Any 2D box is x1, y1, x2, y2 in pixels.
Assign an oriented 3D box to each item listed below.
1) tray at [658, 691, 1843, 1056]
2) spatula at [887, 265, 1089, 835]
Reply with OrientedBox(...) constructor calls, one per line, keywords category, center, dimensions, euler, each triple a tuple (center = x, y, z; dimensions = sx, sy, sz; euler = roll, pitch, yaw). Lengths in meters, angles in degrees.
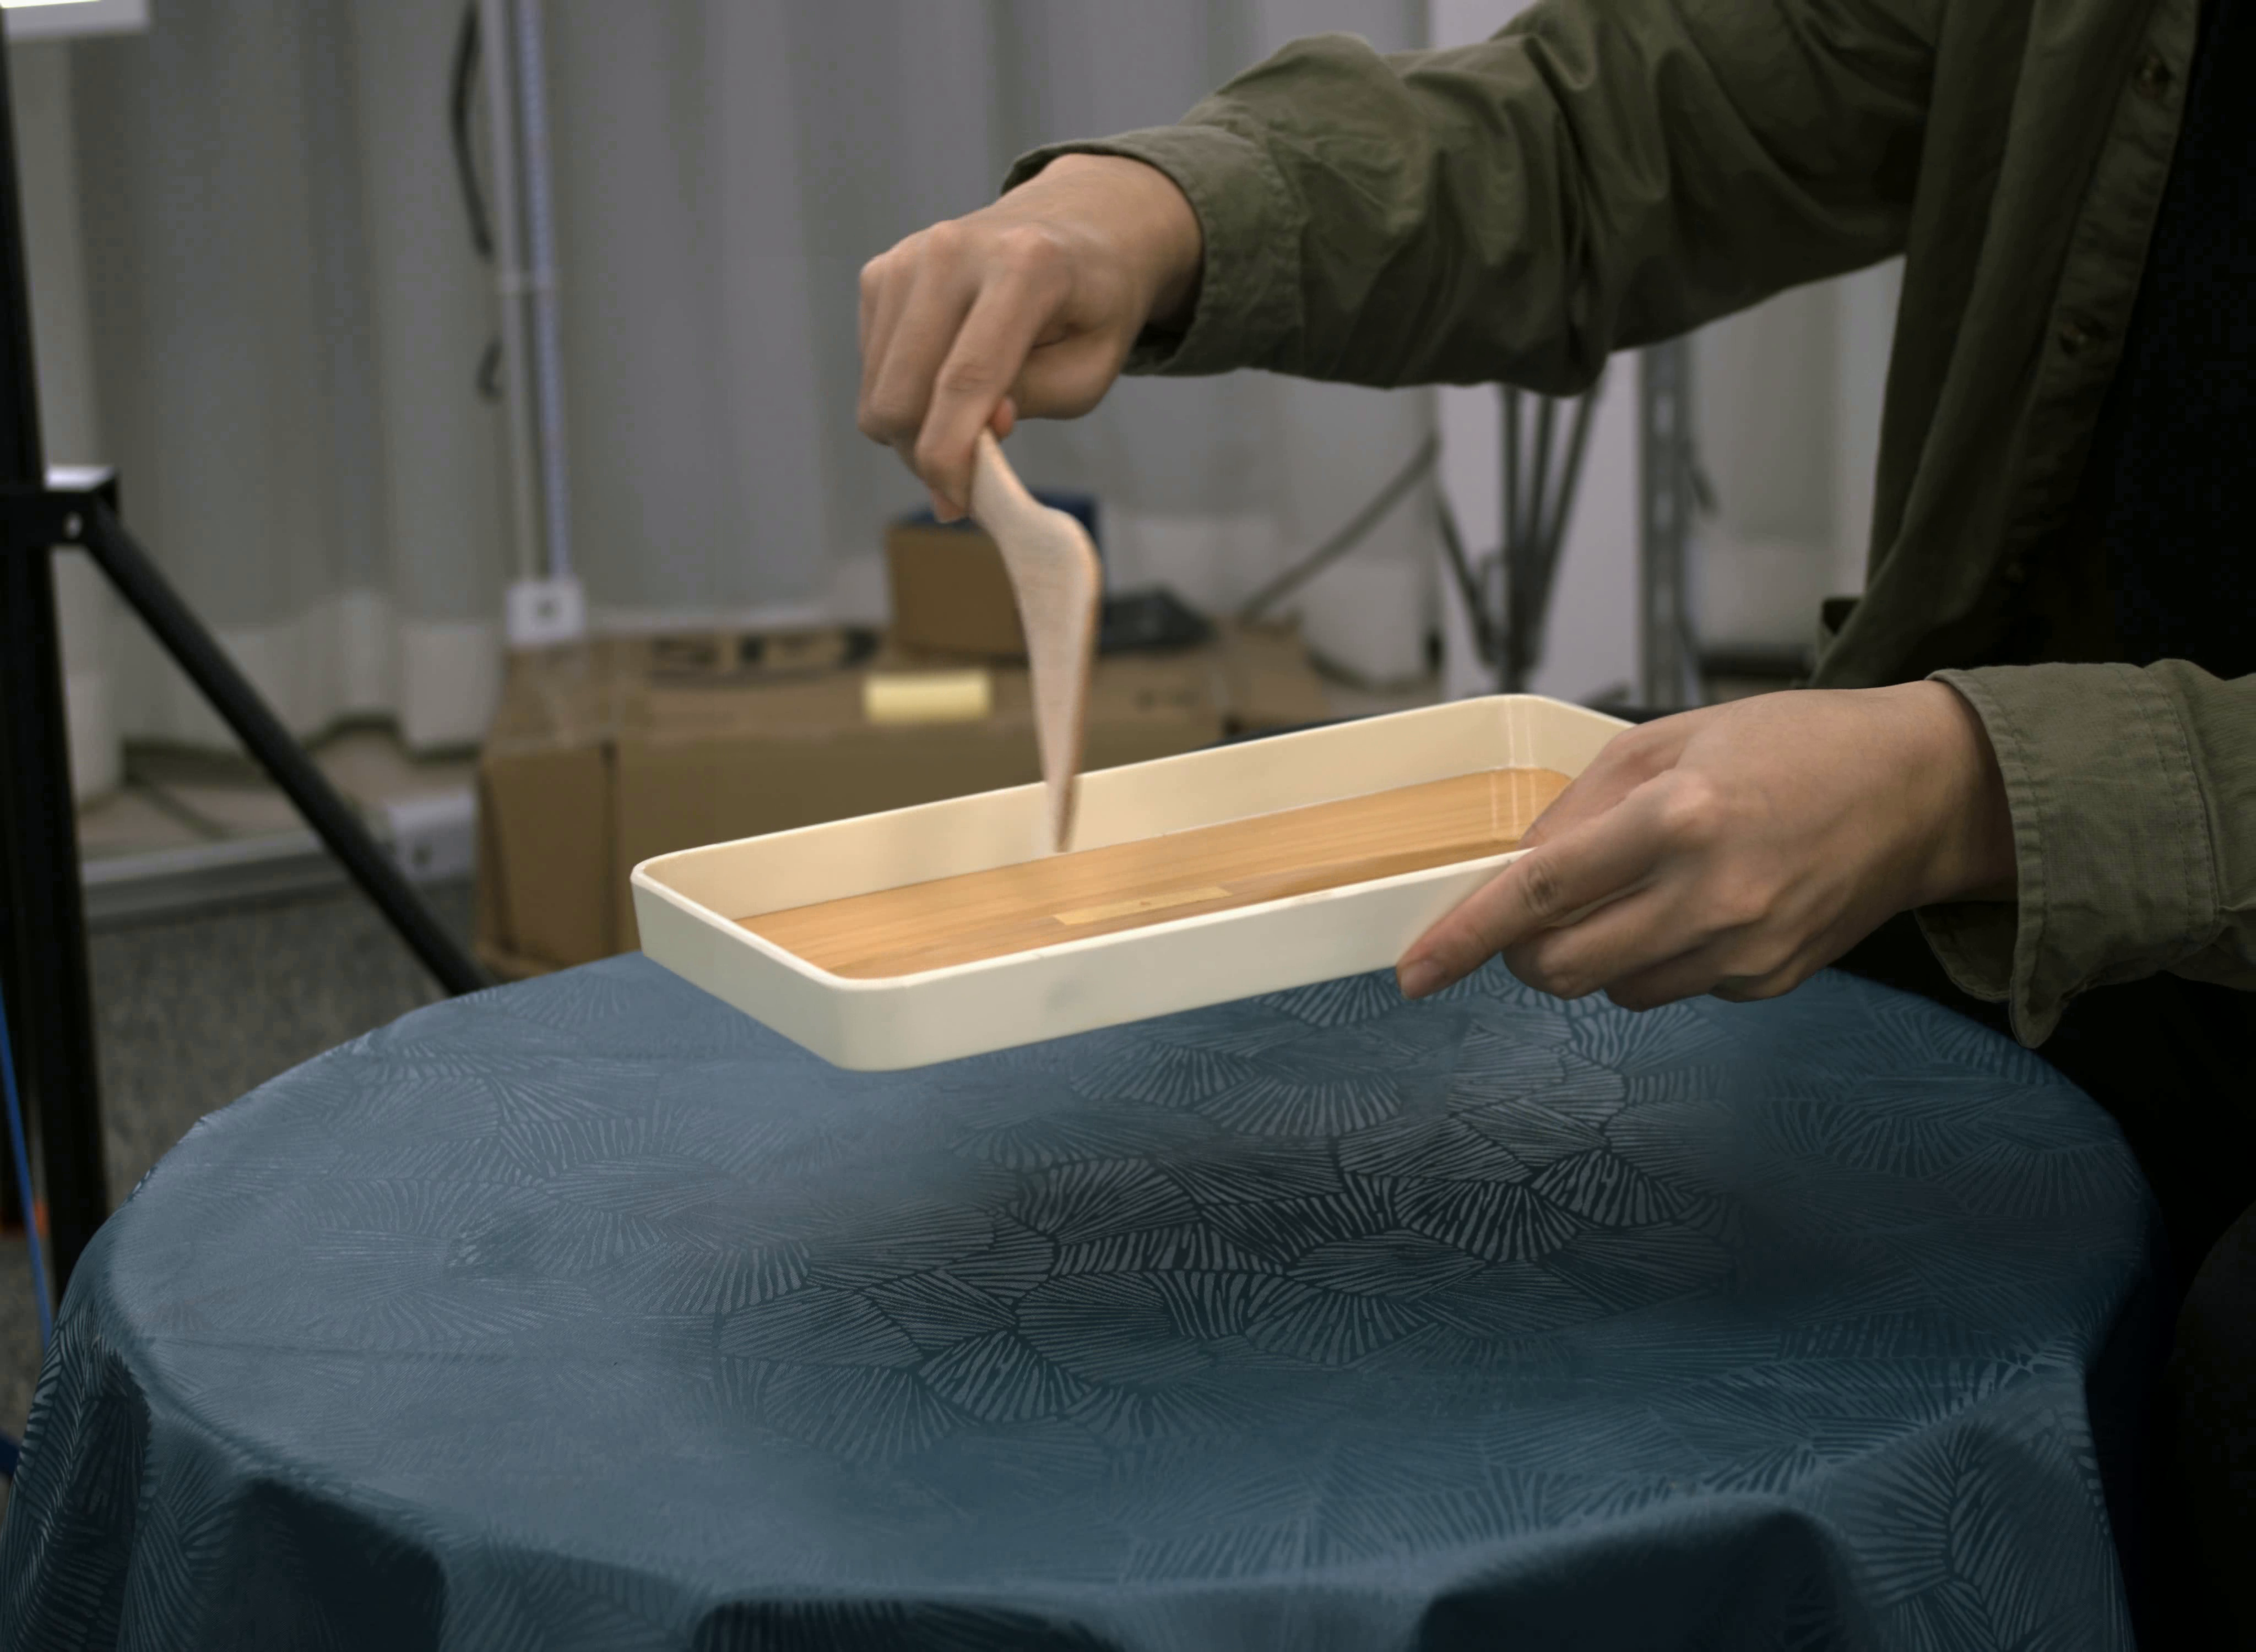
OrientedBox(category="tray", center=(0.033, 0.010, 1.512), dimensions=(0.295, 0.027, 0.195), euler=(-10, 14, -20))
OrientedBox(category="spatula", center=(-0.045, -0.102, 1.603), dimensions=(0.016, 0.080, 0.332), euler=(2, 26, -14))
